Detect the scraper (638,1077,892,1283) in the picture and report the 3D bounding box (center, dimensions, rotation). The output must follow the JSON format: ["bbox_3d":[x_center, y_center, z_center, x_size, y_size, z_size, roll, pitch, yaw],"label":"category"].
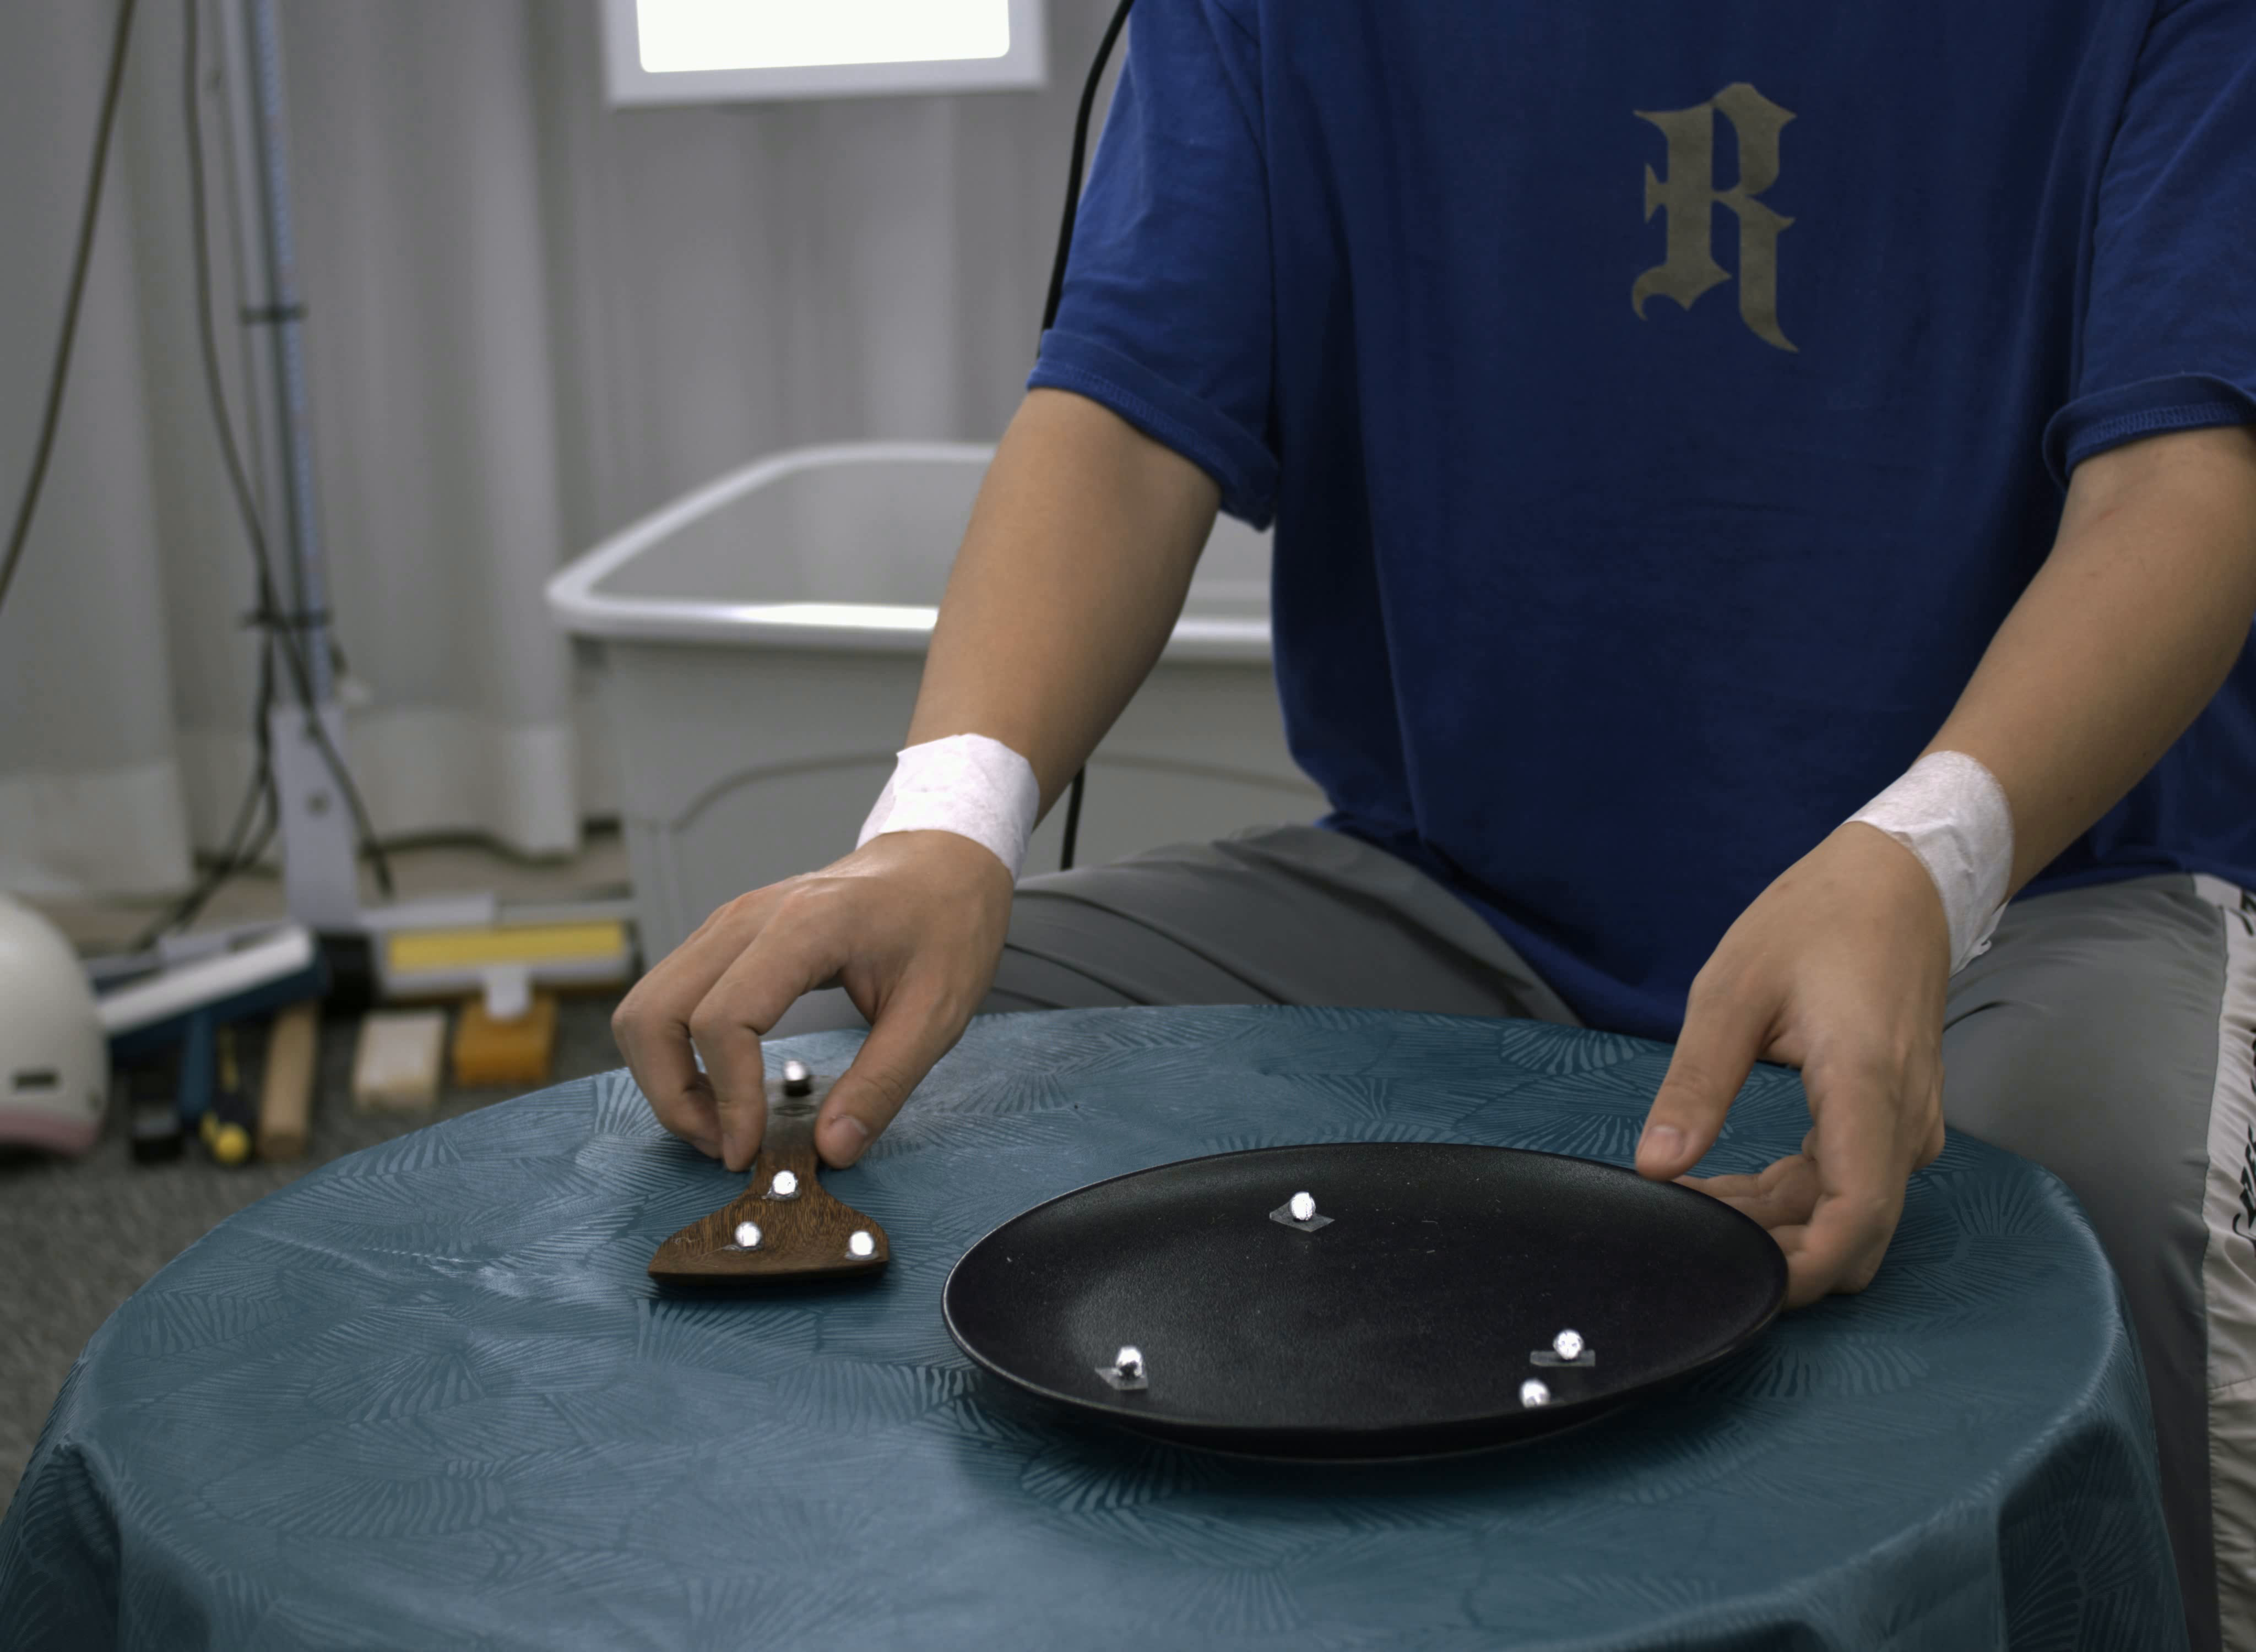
[{"bbox_3d":[-0.108,0.111,1.727,0.075,0.011,0.212,-2,14,1],"label":"scraper"}]

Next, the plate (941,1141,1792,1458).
[{"bbox_3d":[0.068,0.138,1.565,0.243,0.023,0.246,-3,15,0],"label":"plate"}]
